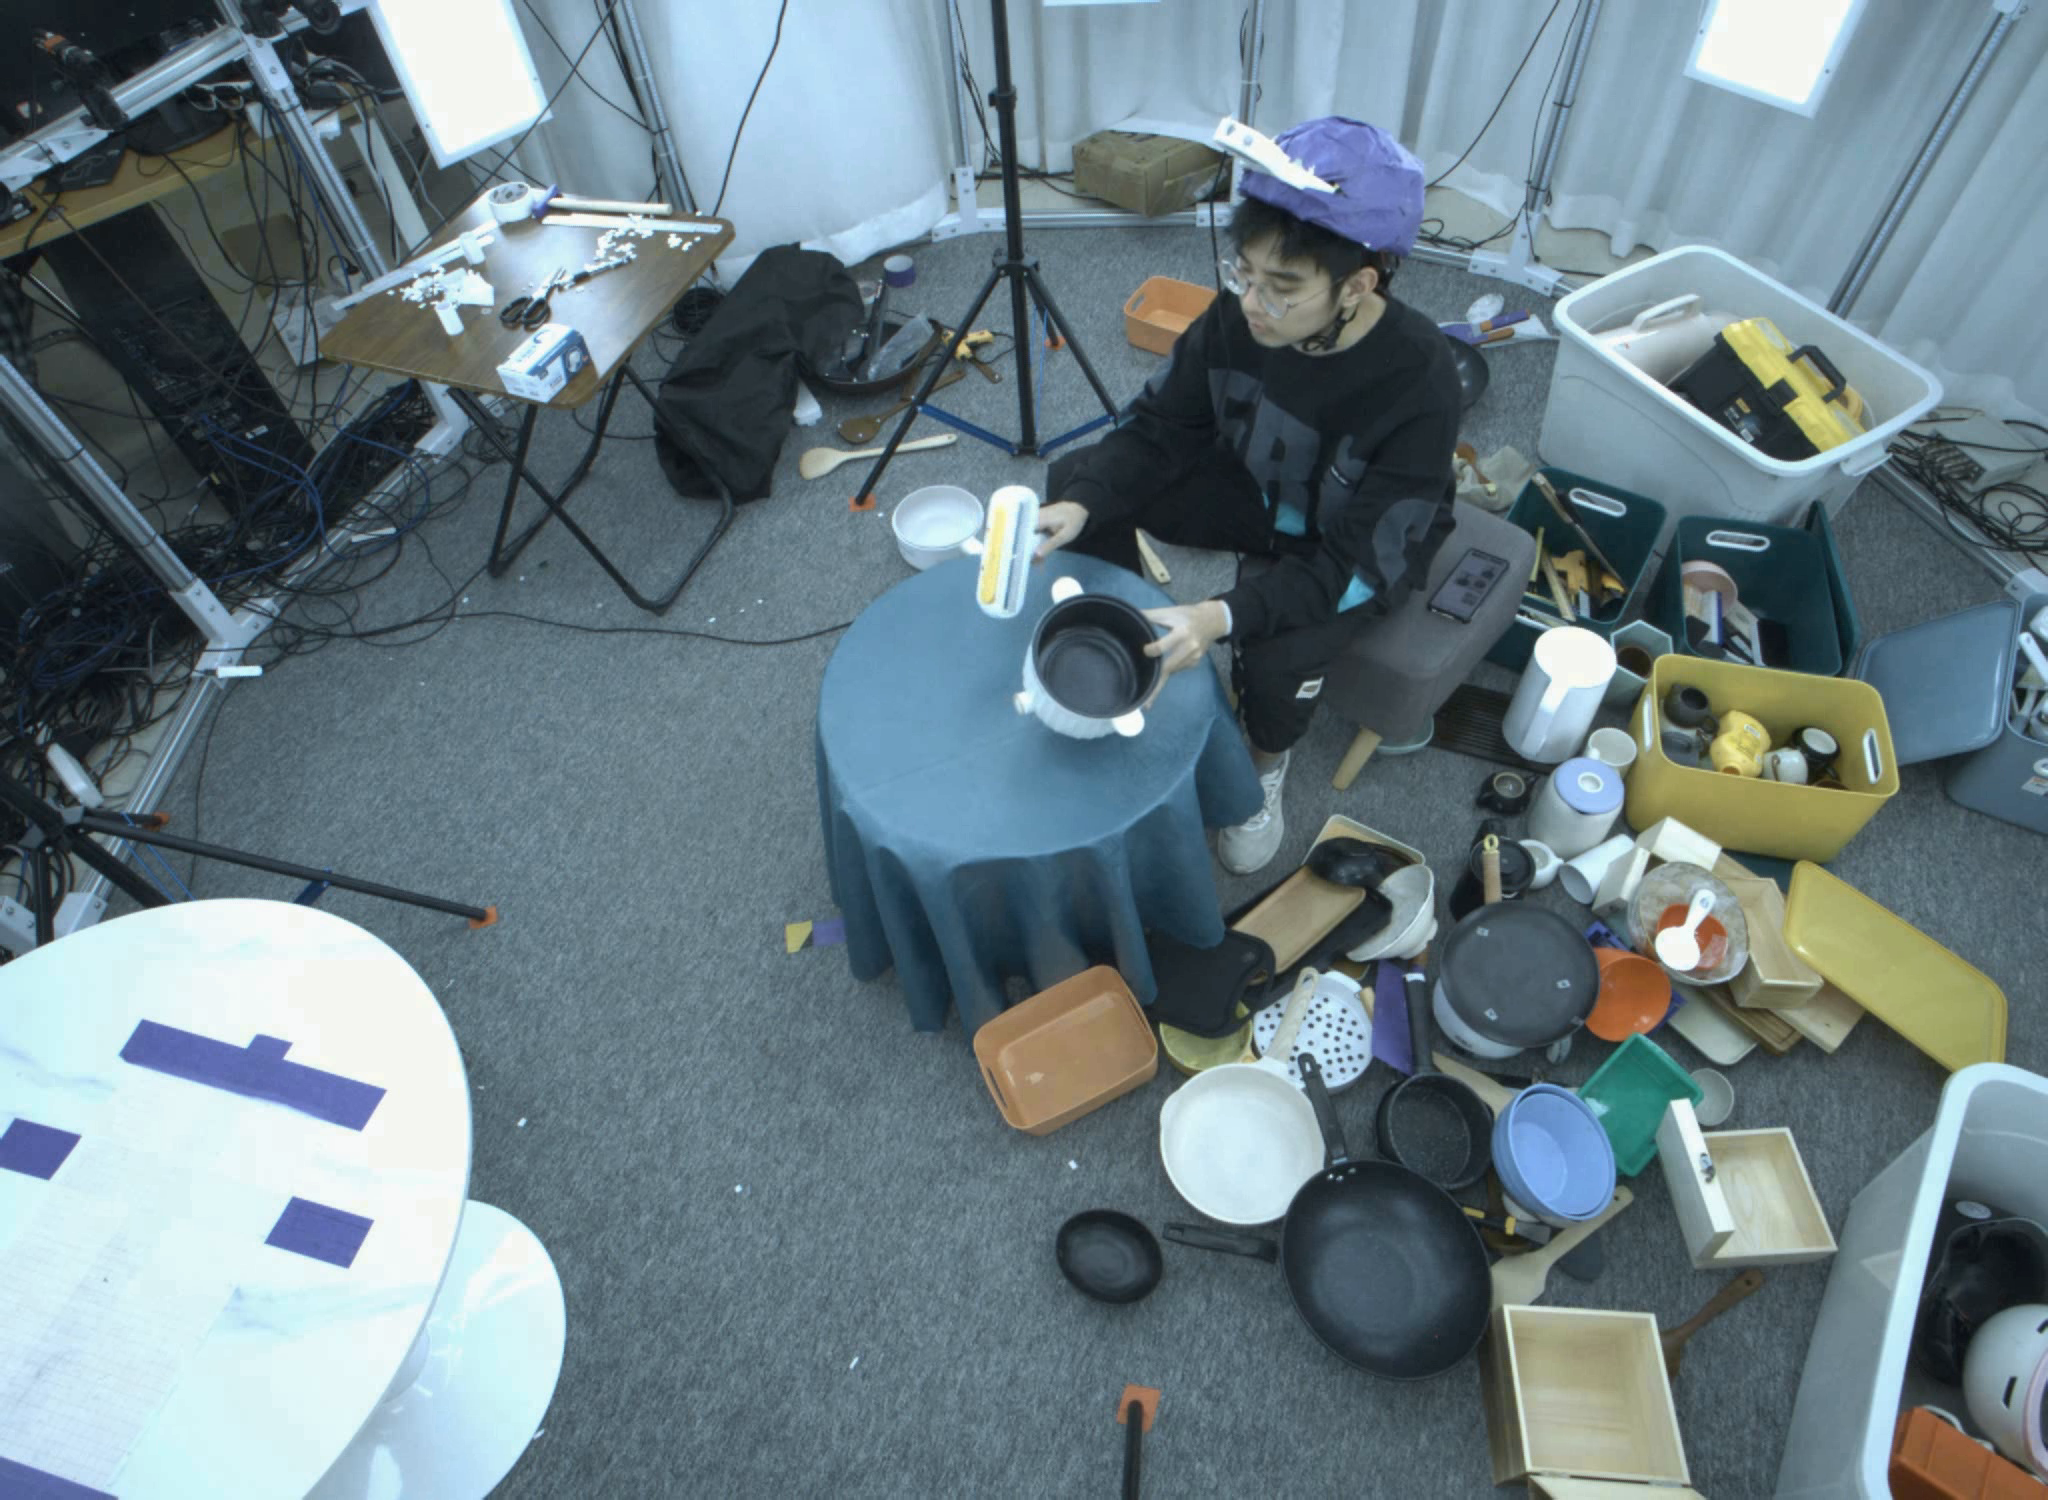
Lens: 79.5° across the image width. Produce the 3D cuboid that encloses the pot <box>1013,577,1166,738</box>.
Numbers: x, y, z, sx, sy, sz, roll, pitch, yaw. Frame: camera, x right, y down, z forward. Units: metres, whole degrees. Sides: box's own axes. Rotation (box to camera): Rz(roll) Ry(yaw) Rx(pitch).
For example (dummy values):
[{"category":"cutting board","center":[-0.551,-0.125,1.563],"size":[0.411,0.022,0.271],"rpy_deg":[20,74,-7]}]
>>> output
[{"category":"pot","center":[0.084,-0.106,1.703],"size":[0.192,0.142,0.238],"rpy_deg":[-21,78,-19]}]

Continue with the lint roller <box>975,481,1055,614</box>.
[{"category":"lint roller","center":[0.001,-0.304,1.818],"size":[0.072,0.193,0.195],"rpy_deg":[15,18,32]}]
